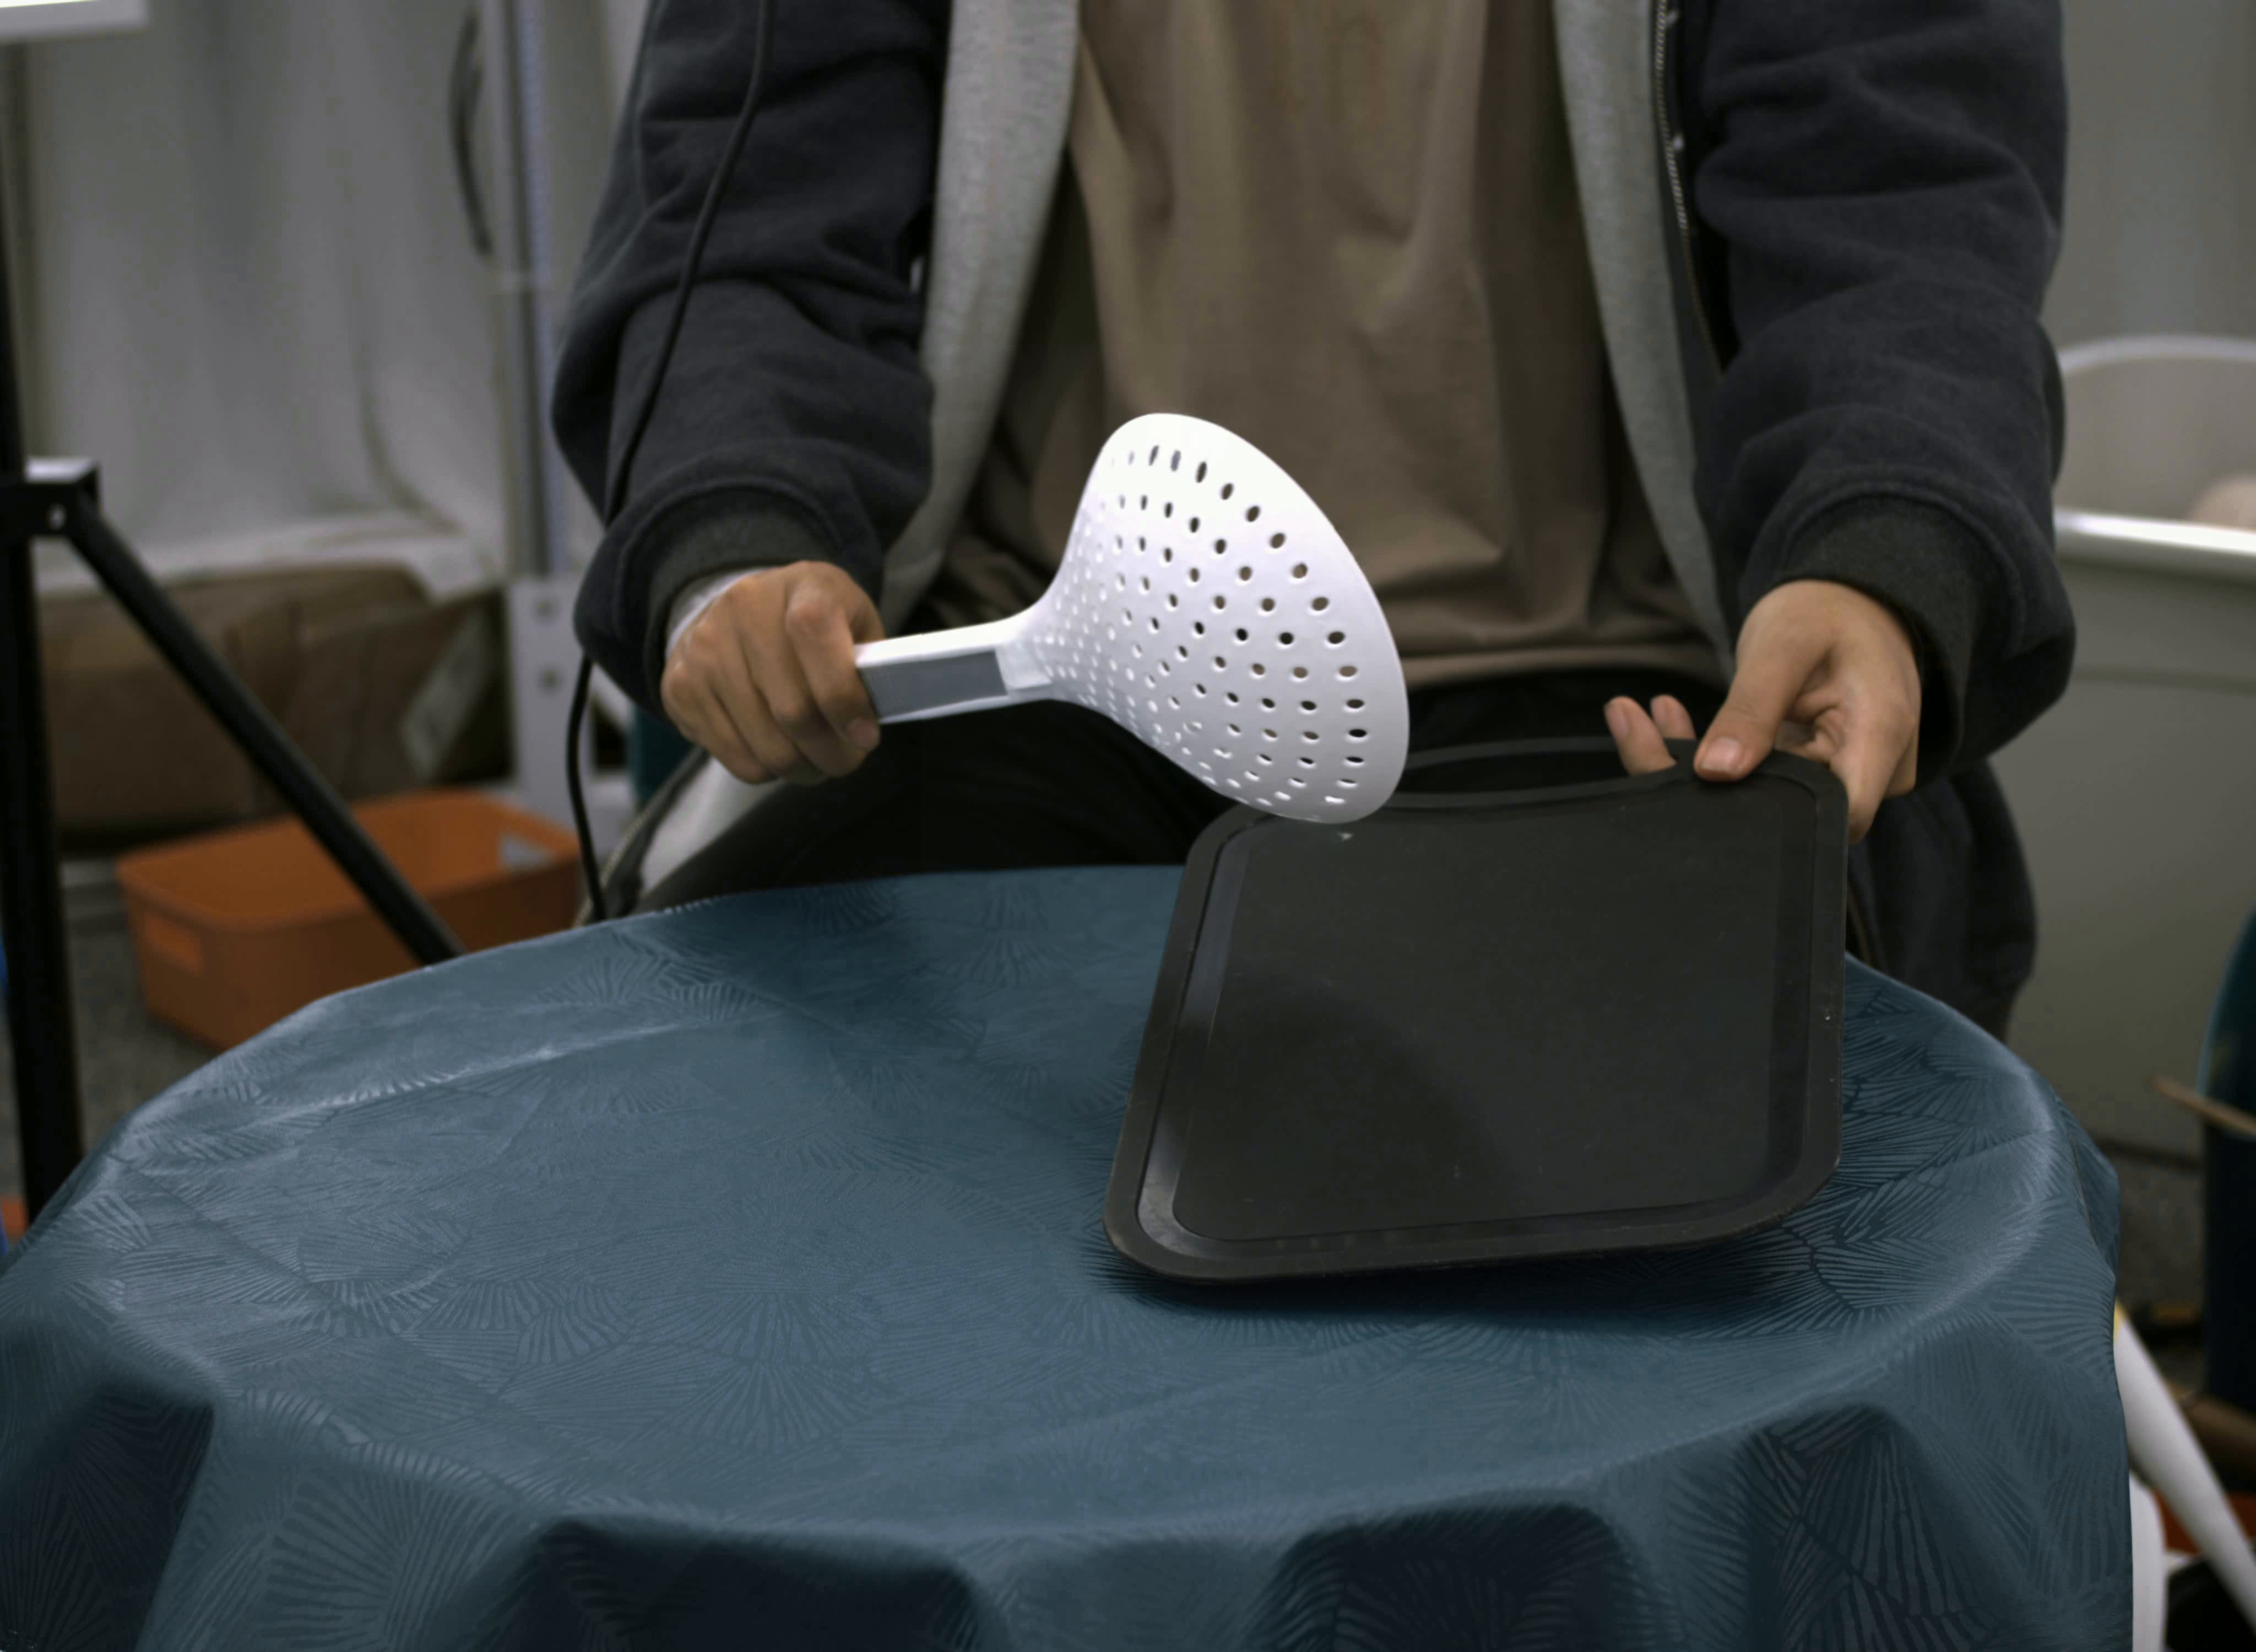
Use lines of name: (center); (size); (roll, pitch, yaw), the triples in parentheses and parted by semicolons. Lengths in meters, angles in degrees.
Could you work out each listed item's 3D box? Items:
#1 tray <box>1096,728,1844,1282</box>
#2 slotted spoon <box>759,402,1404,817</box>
tray: (0.107, 0.045, 1.586); (0.212, 0.010, 0.326); (-6, 26, 12)
slotted spoon: (-0.027, -0.055, 1.669); (0.045, 0.135, 0.356); (-29, 12, -24)
